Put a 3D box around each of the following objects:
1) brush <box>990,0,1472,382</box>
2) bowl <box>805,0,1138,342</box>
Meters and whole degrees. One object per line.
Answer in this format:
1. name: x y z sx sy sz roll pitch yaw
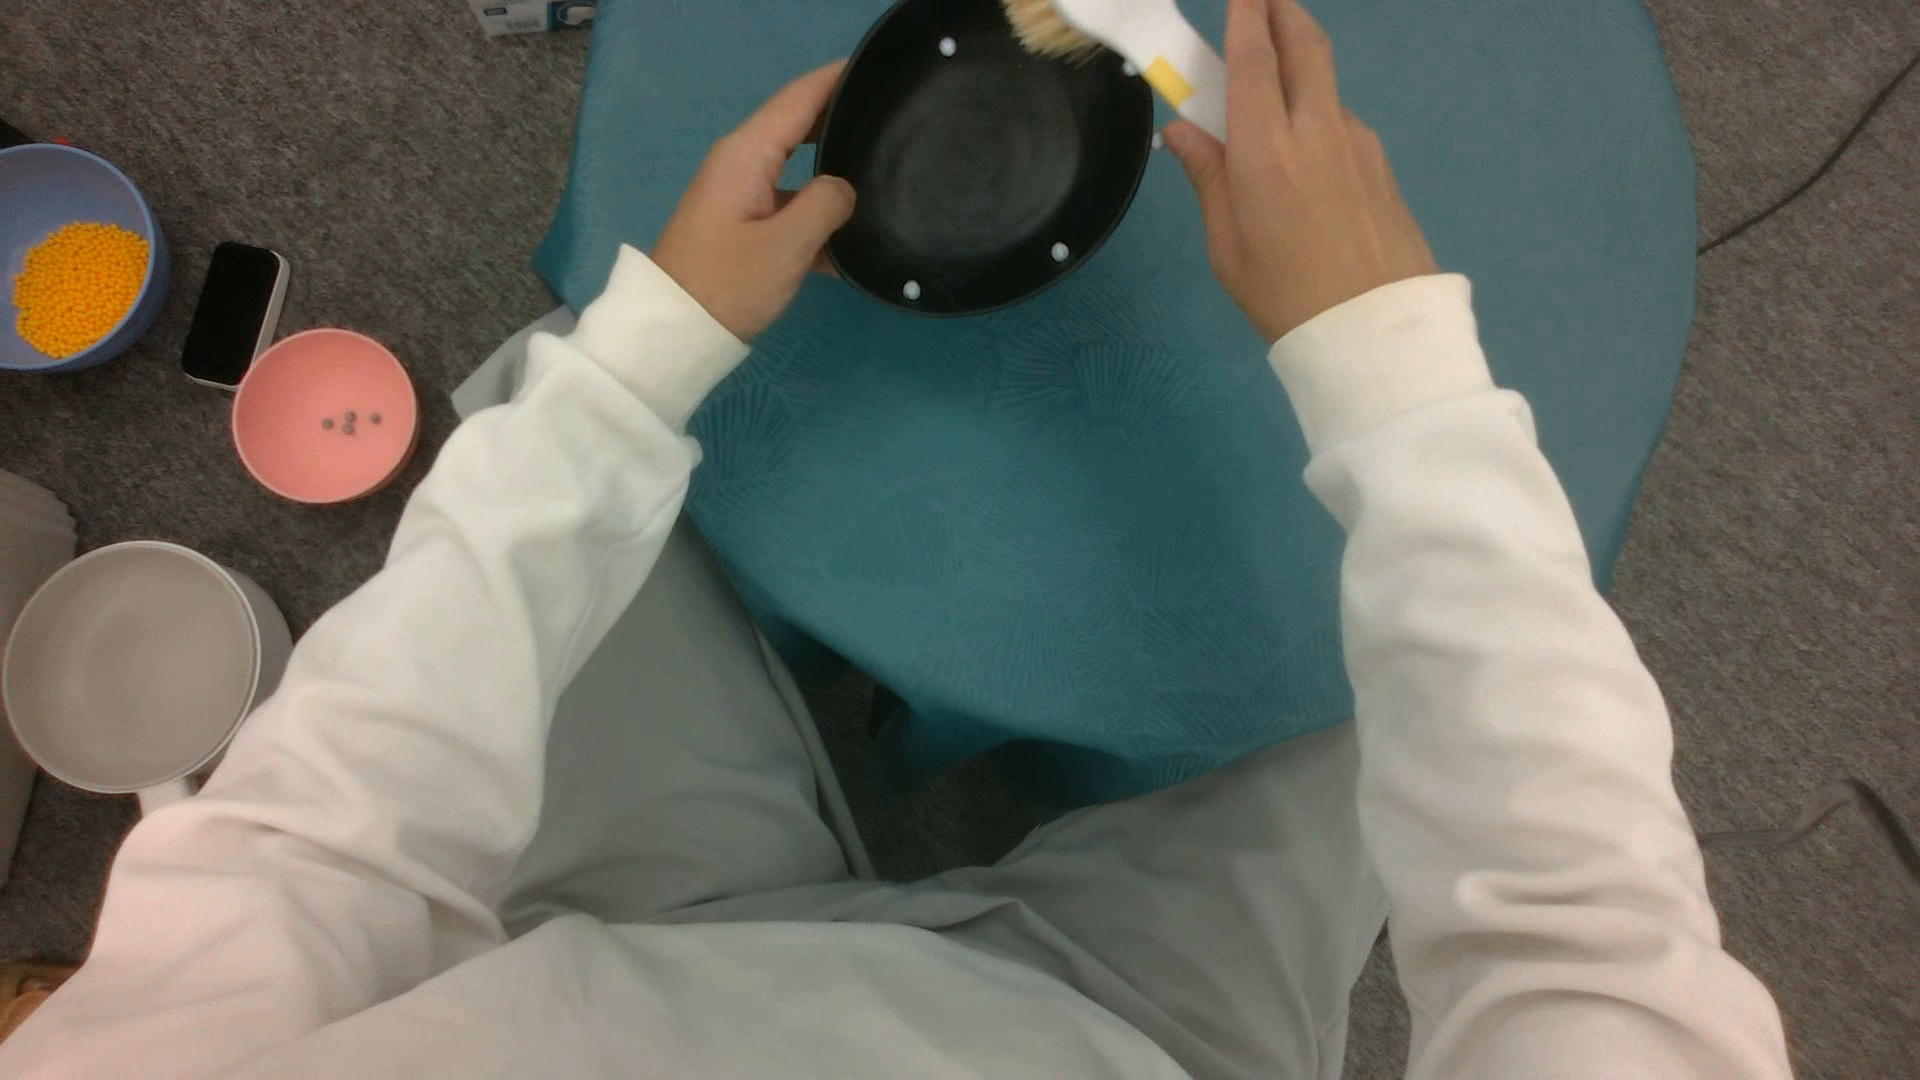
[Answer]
1. brush: 0.120 -0.164 0.608 0.266 0.056 0.068 43 86 -9
2. bowl: 0.003 -0.170 0.652 0.137 0.067 0.170 40 93 -10
